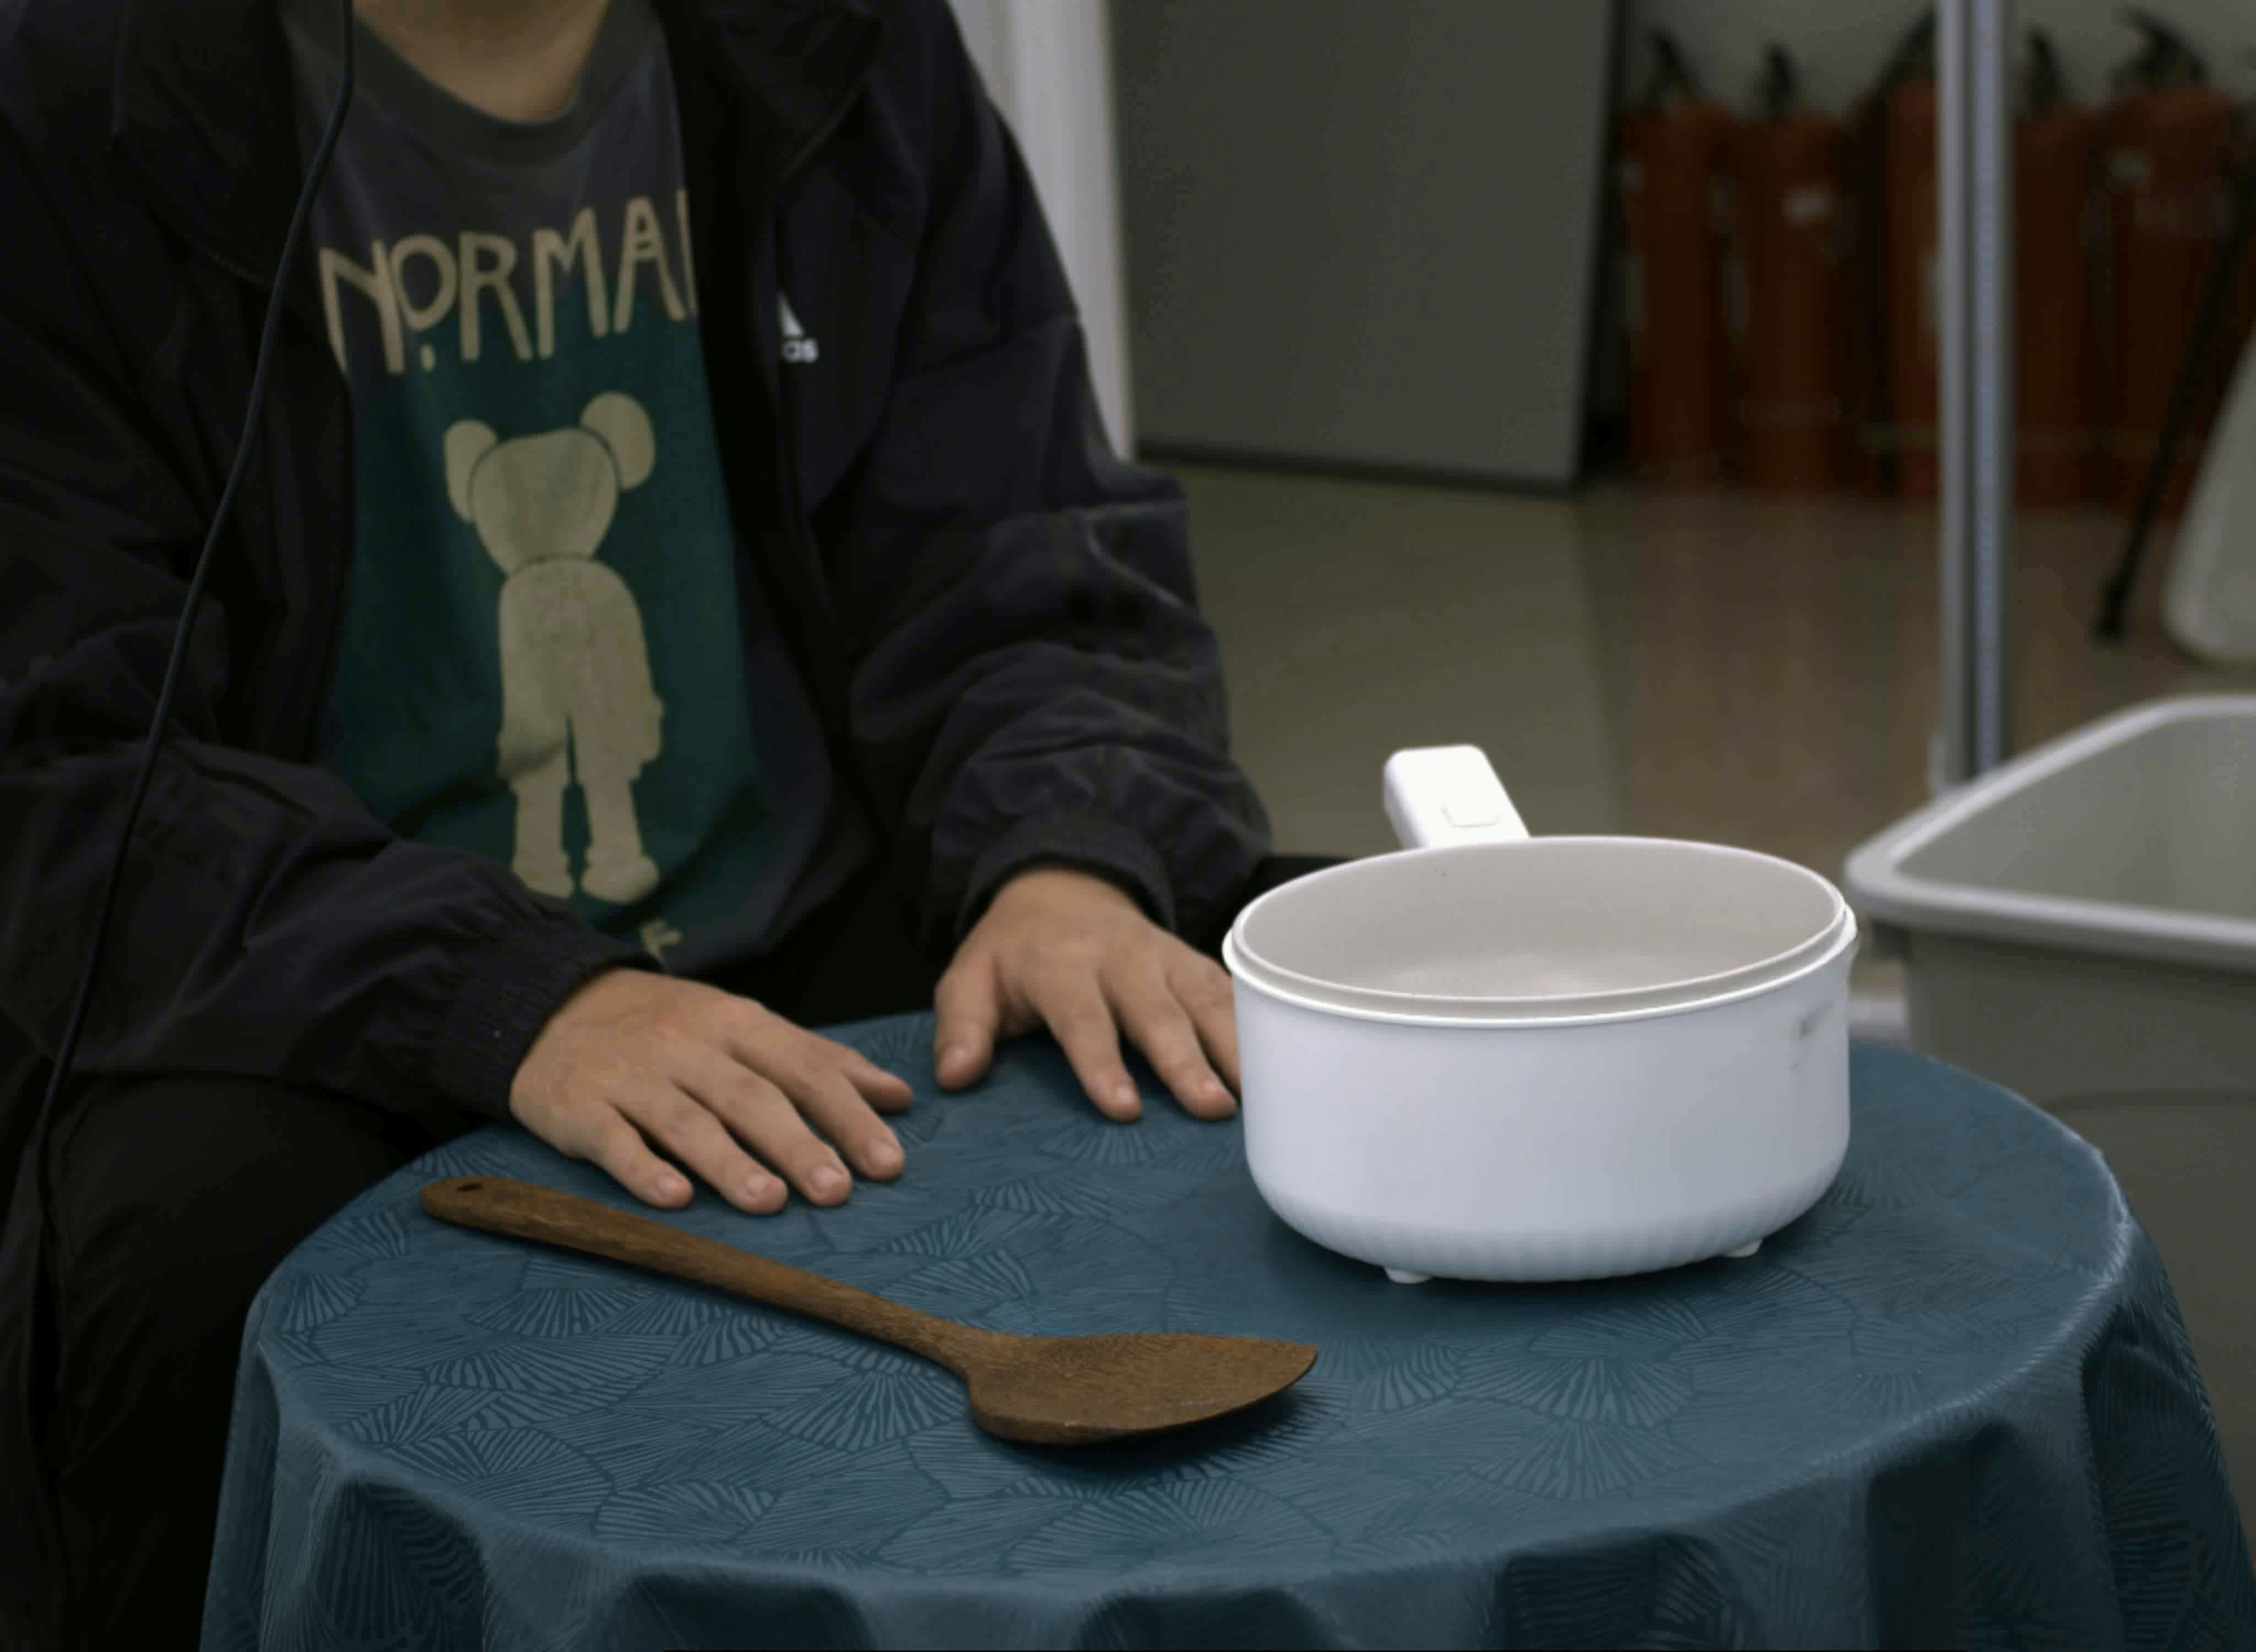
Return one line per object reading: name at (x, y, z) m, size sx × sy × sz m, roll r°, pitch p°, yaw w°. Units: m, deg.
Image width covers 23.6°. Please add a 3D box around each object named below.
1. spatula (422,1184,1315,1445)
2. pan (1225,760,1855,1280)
spatula at (-0.100, 0.146, 1.673) m, size 0.094 × 0.016 × 0.390 m, roll -15°, pitch 17°, yaw -41°
pan at (0.128, 0.059, 1.783) m, size 0.198 × 0.103 × 0.355 m, roll -5°, pitch 12°, yaw -2°
